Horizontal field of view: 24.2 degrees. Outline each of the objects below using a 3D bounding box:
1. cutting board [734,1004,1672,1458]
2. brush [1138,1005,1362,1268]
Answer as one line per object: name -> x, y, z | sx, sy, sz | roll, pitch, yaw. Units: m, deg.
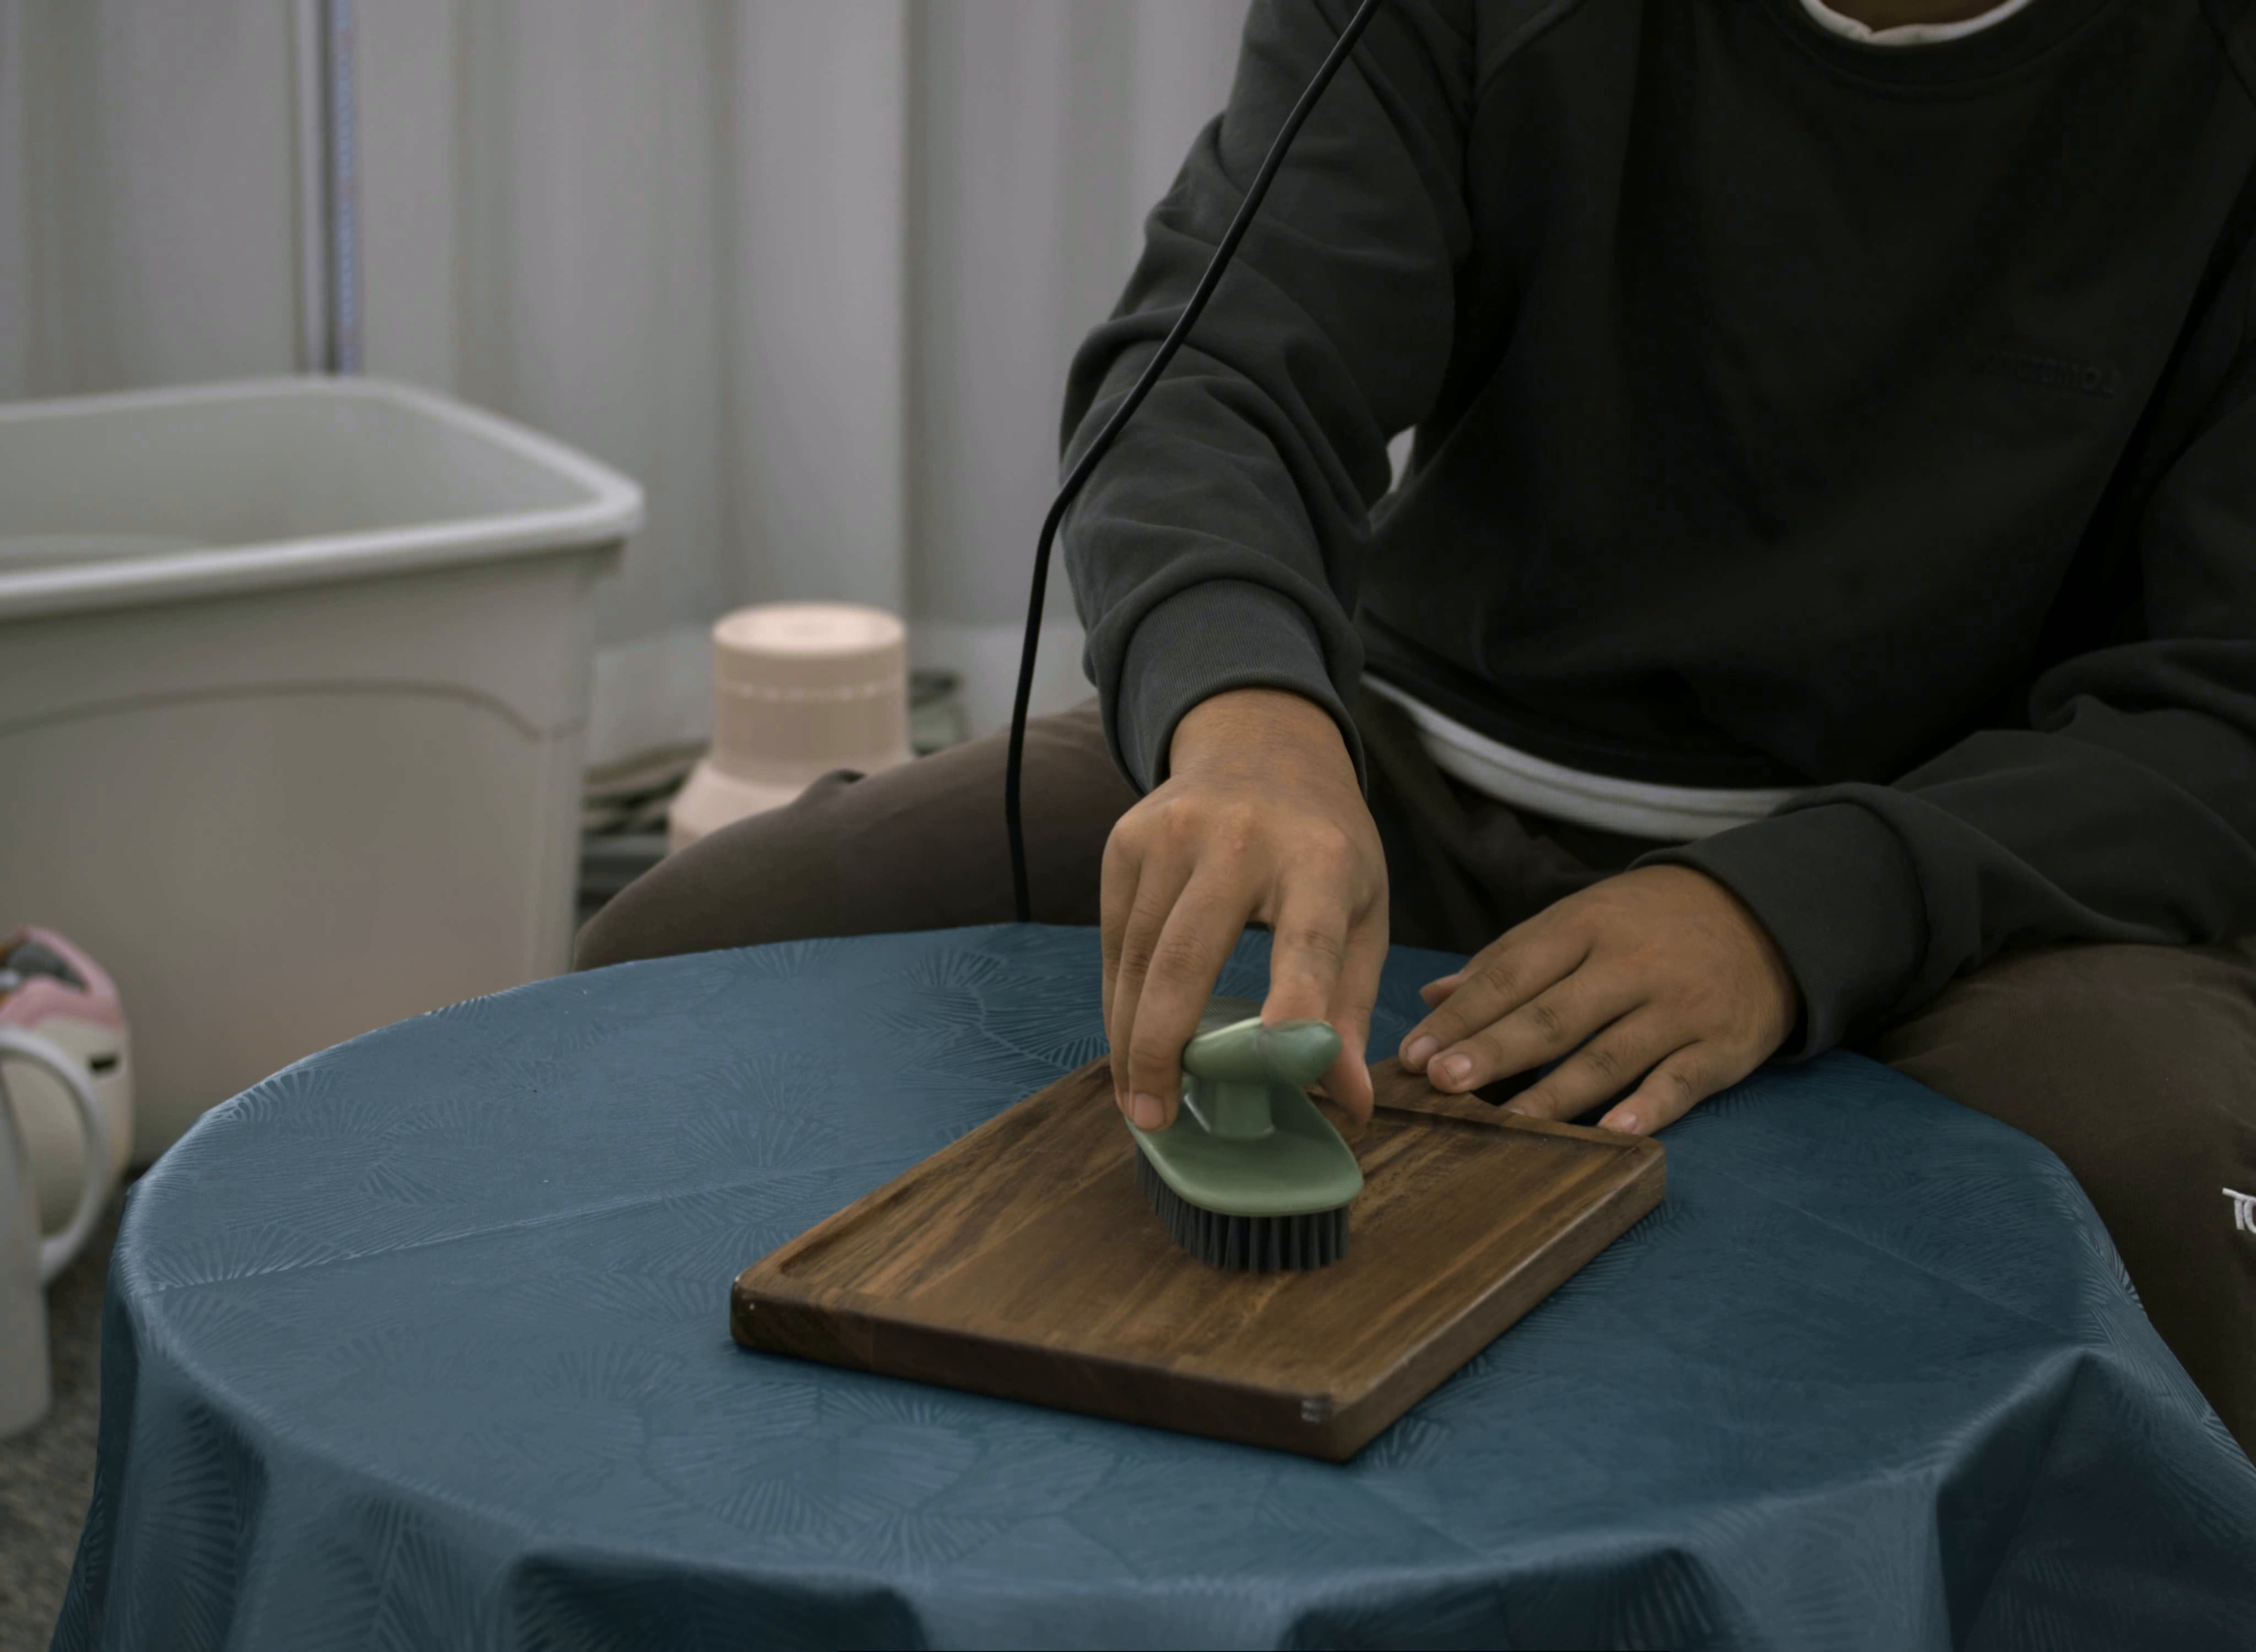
cutting board -> 0.050, 0.110, 1.599 | 0.199, 0.023, 0.353 | 8, 17, 25
brush -> 0.036, 0.090, 1.561 | 0.059, 0.076, 0.122 | 0, -1, -9
